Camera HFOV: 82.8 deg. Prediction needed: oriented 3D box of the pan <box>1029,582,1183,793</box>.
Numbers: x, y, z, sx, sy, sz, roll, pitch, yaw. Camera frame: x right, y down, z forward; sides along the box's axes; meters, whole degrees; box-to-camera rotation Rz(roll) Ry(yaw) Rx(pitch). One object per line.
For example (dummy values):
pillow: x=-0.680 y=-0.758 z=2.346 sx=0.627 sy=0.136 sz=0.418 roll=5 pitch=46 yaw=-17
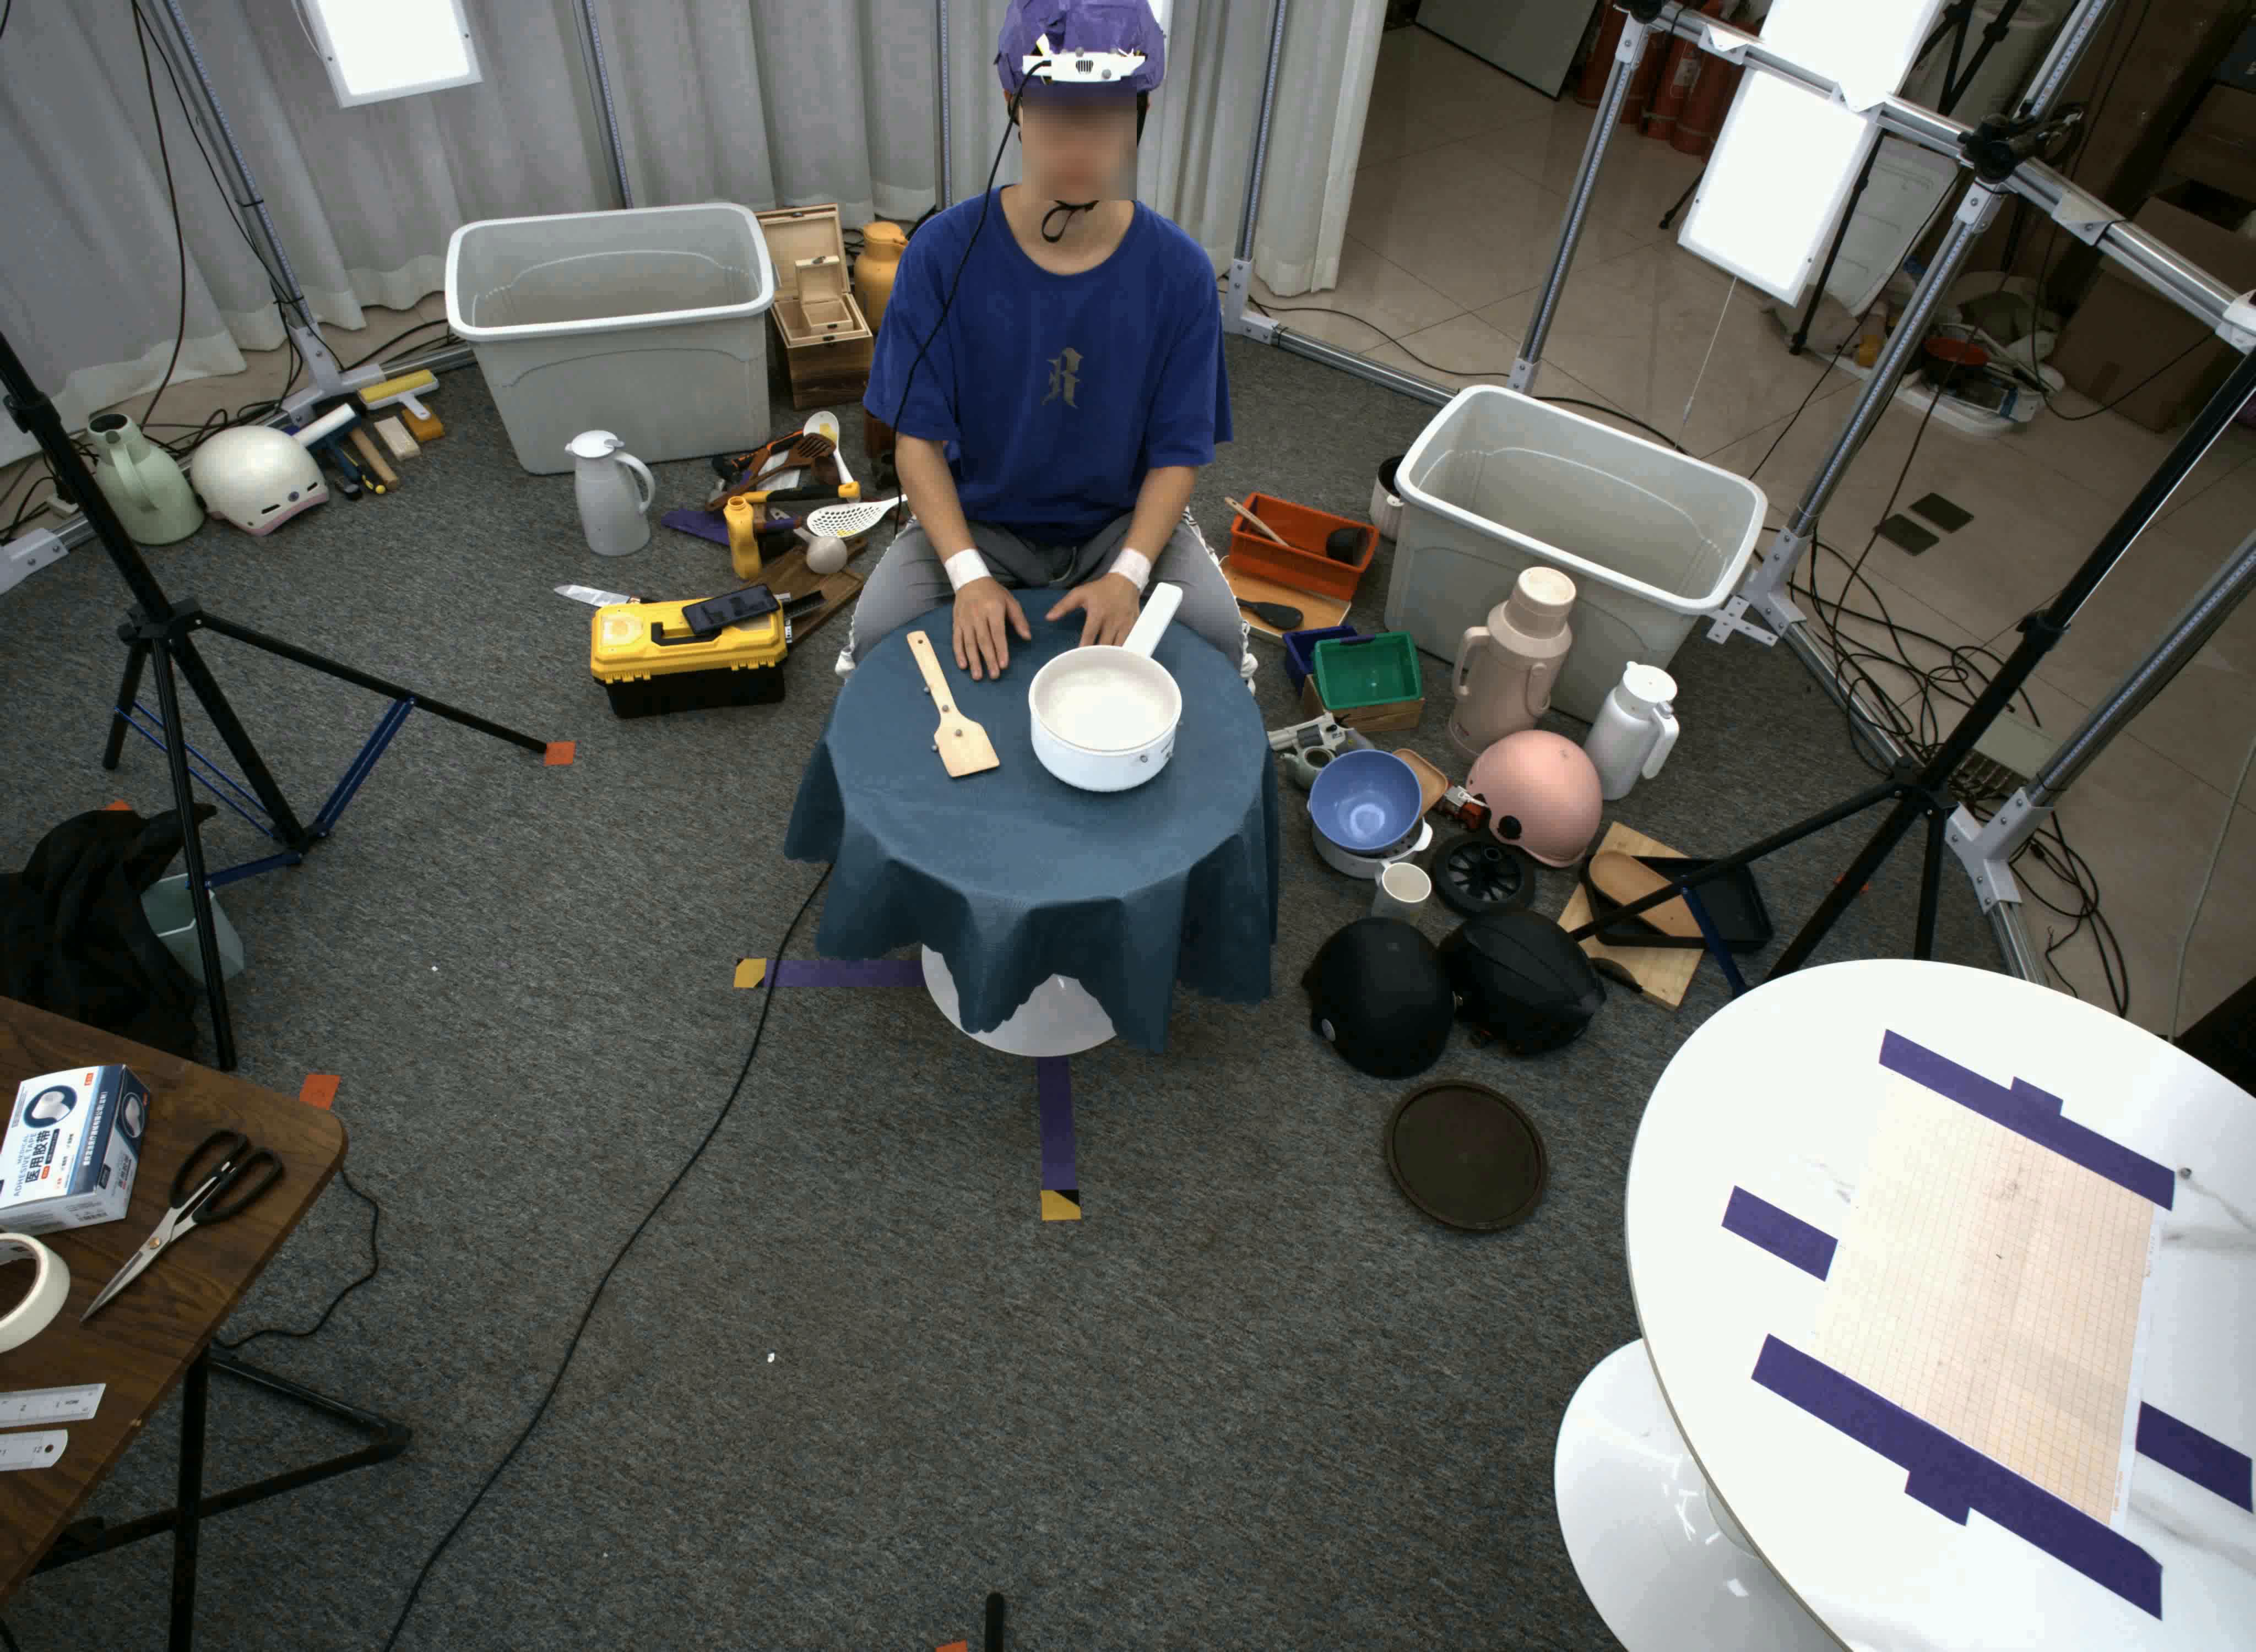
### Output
pan: x=-0.004 y=-0.194 z=1.778 sx=0.202 sy=0.099 sz=0.362 roll=16 pitch=51 yaw=13

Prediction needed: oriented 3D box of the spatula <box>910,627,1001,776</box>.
spatula: x=-0.256 y=-0.181 z=1.807 sx=0.072 sy=0.010 sz=0.300 roll=-16 pitch=53 yaw=-15
